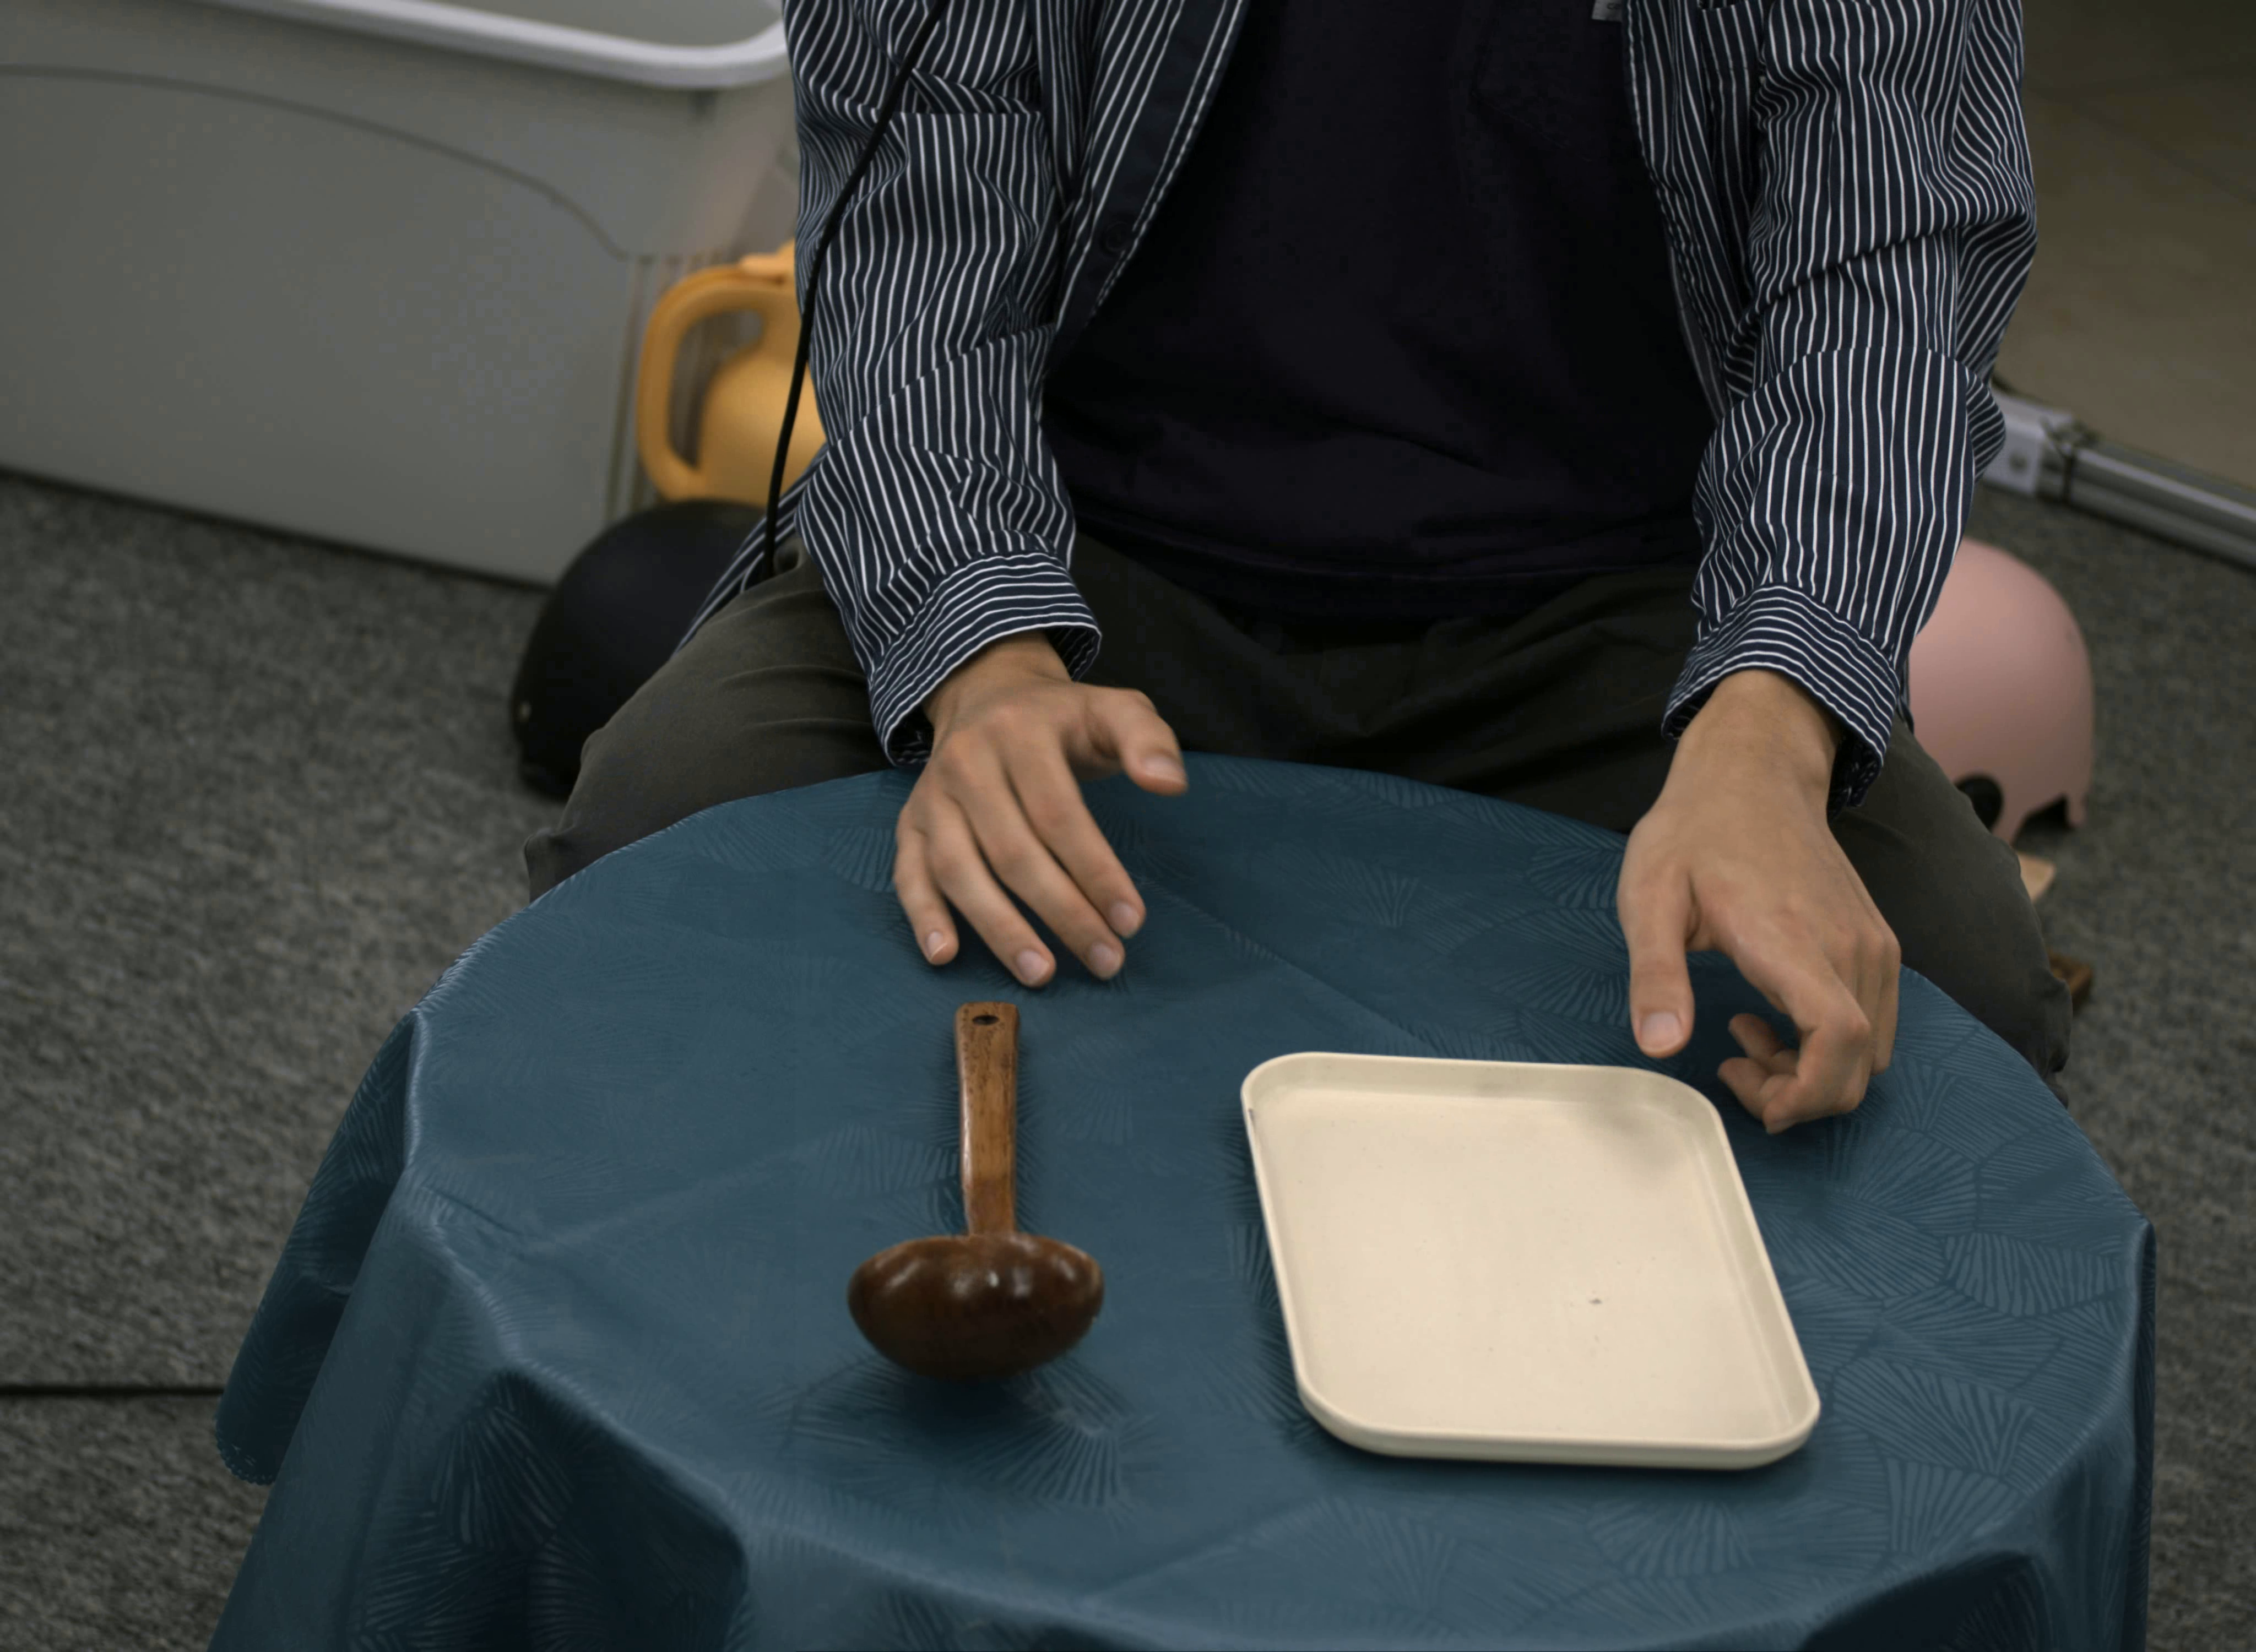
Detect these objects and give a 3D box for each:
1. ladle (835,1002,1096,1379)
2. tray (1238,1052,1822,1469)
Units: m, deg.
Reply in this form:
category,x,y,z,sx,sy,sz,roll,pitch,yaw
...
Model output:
category,x,y,z,sx,sy,sz,roll,pitch,yaw
ladle,-0.048,0.099,1.751,0.082,0.076,0.275,2,27,0
tray,0.129,0.143,1.768,0.170,0.017,0.241,3,27,-7
